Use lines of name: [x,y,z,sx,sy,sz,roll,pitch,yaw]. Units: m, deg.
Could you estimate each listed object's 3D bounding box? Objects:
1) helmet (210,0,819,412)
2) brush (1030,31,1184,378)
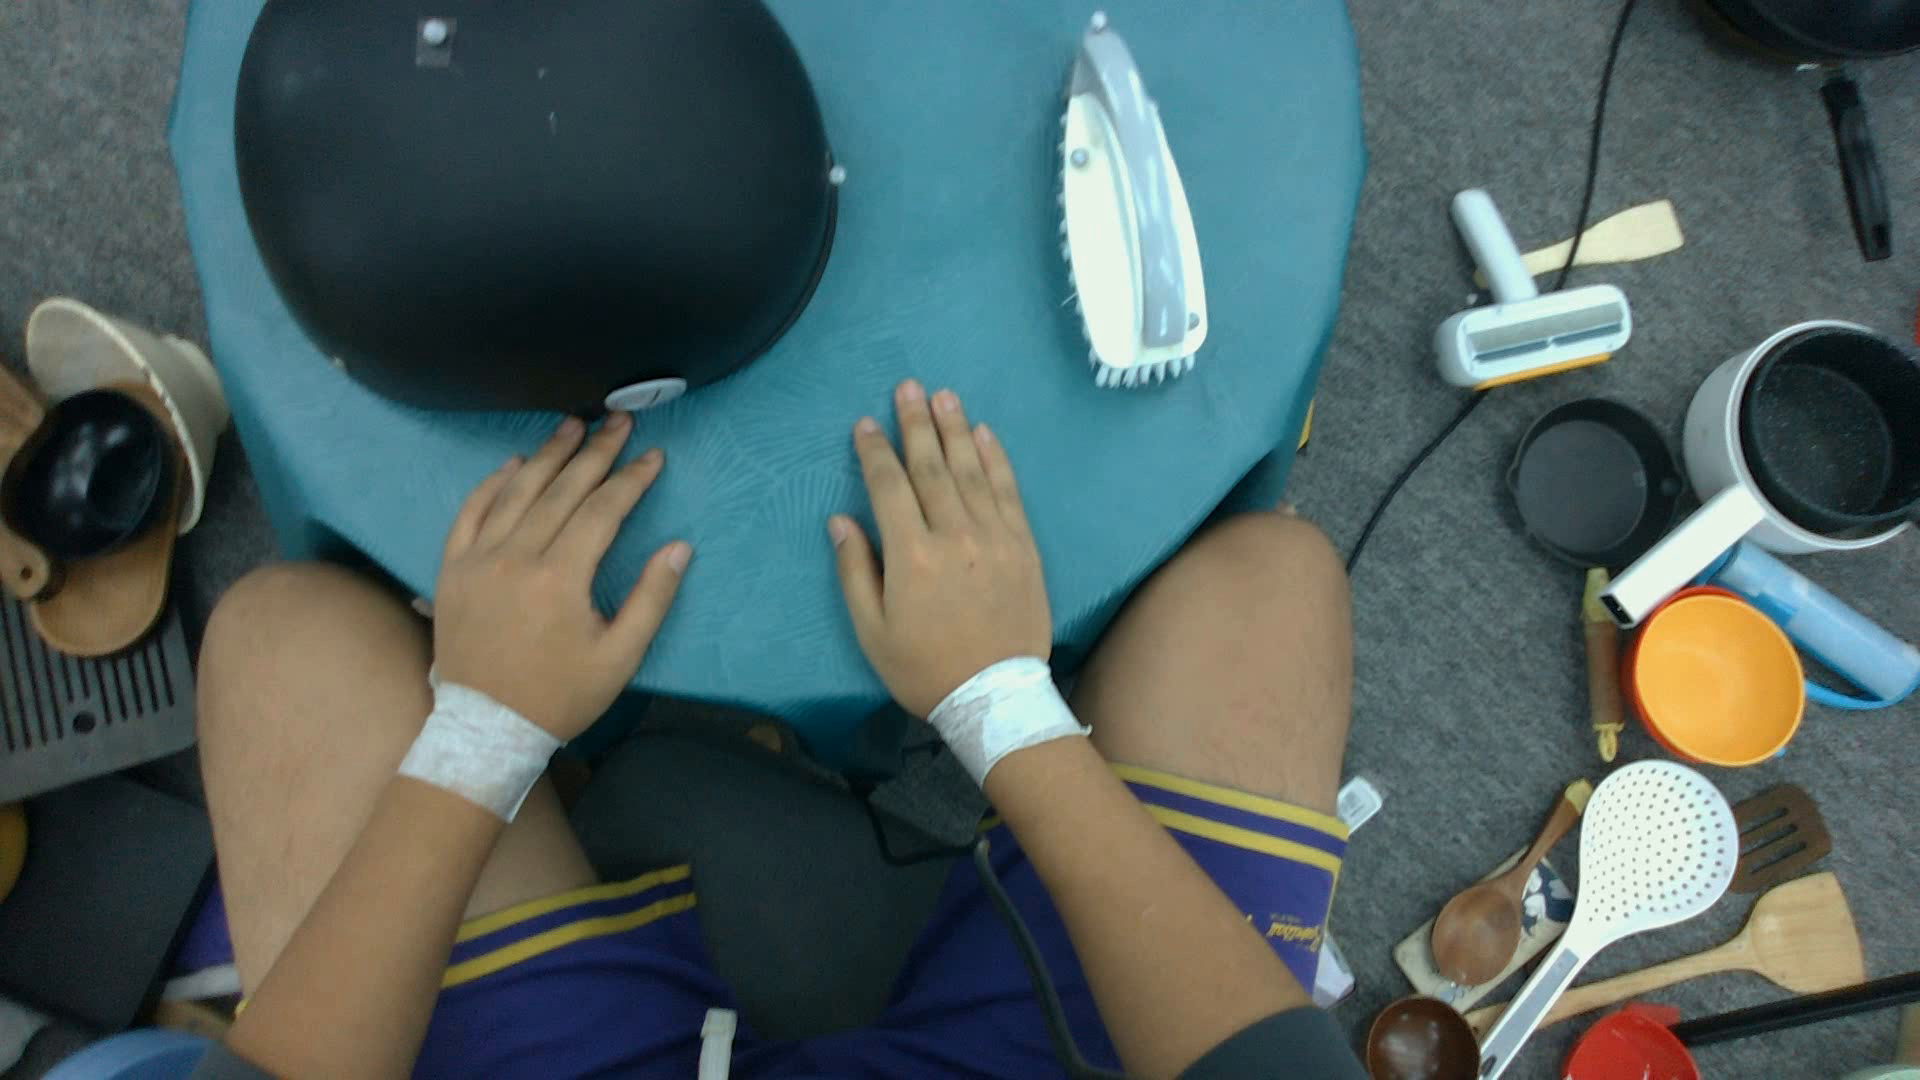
helmet: [-0.198,-0.177,0.610,0.273,0.166,0.230,-3,83,-8]
brush: [0.069,-0.174,0.669,0.061,0.094,0.175,-10,81,-8]
